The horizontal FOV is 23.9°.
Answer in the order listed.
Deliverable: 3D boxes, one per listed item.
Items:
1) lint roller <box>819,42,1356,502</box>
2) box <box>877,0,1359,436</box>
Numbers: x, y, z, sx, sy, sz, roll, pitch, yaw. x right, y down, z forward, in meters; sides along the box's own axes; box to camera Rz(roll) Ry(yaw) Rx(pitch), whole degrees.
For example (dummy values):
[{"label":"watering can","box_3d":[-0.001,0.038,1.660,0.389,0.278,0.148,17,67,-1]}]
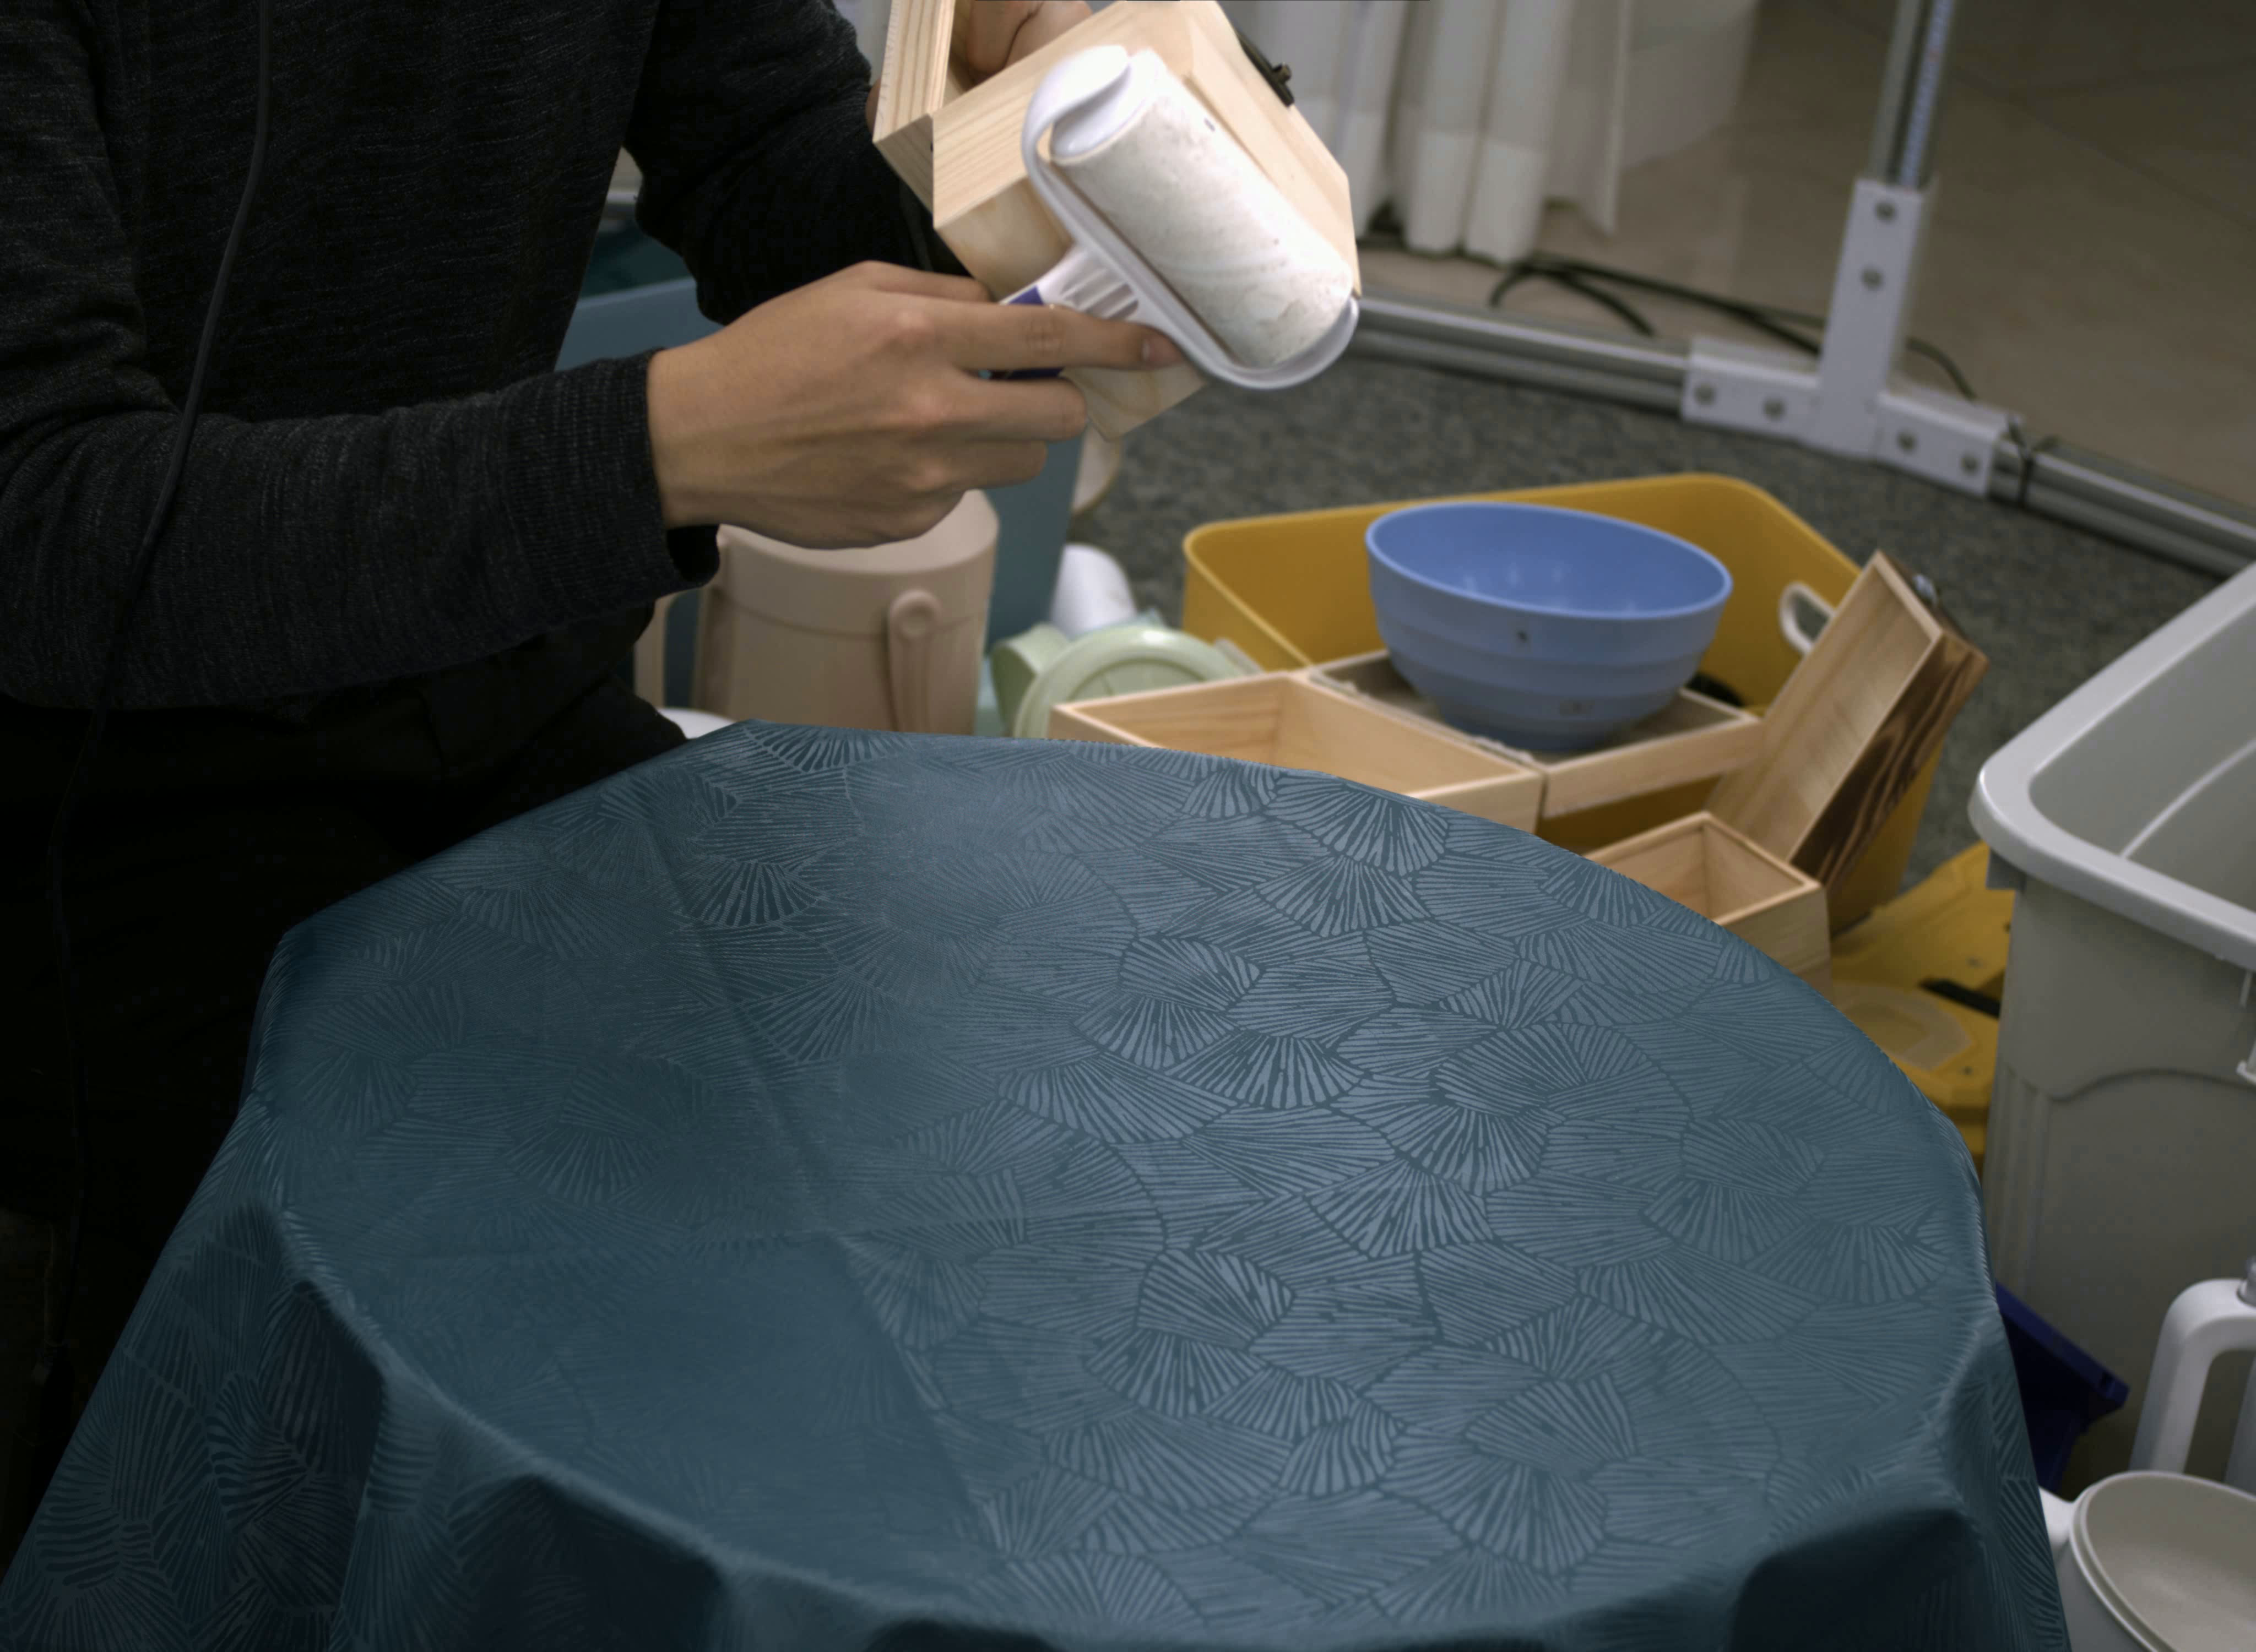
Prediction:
[{"label":"lint roller","box_3d":[-0.029,-0.157,1.701,0.132,0.181,0.050,46,14,-29]},{"label":"box","box_3d":[-0.003,-0.234,1.800,0.134,0.102,0.186,-29,32,19]}]
